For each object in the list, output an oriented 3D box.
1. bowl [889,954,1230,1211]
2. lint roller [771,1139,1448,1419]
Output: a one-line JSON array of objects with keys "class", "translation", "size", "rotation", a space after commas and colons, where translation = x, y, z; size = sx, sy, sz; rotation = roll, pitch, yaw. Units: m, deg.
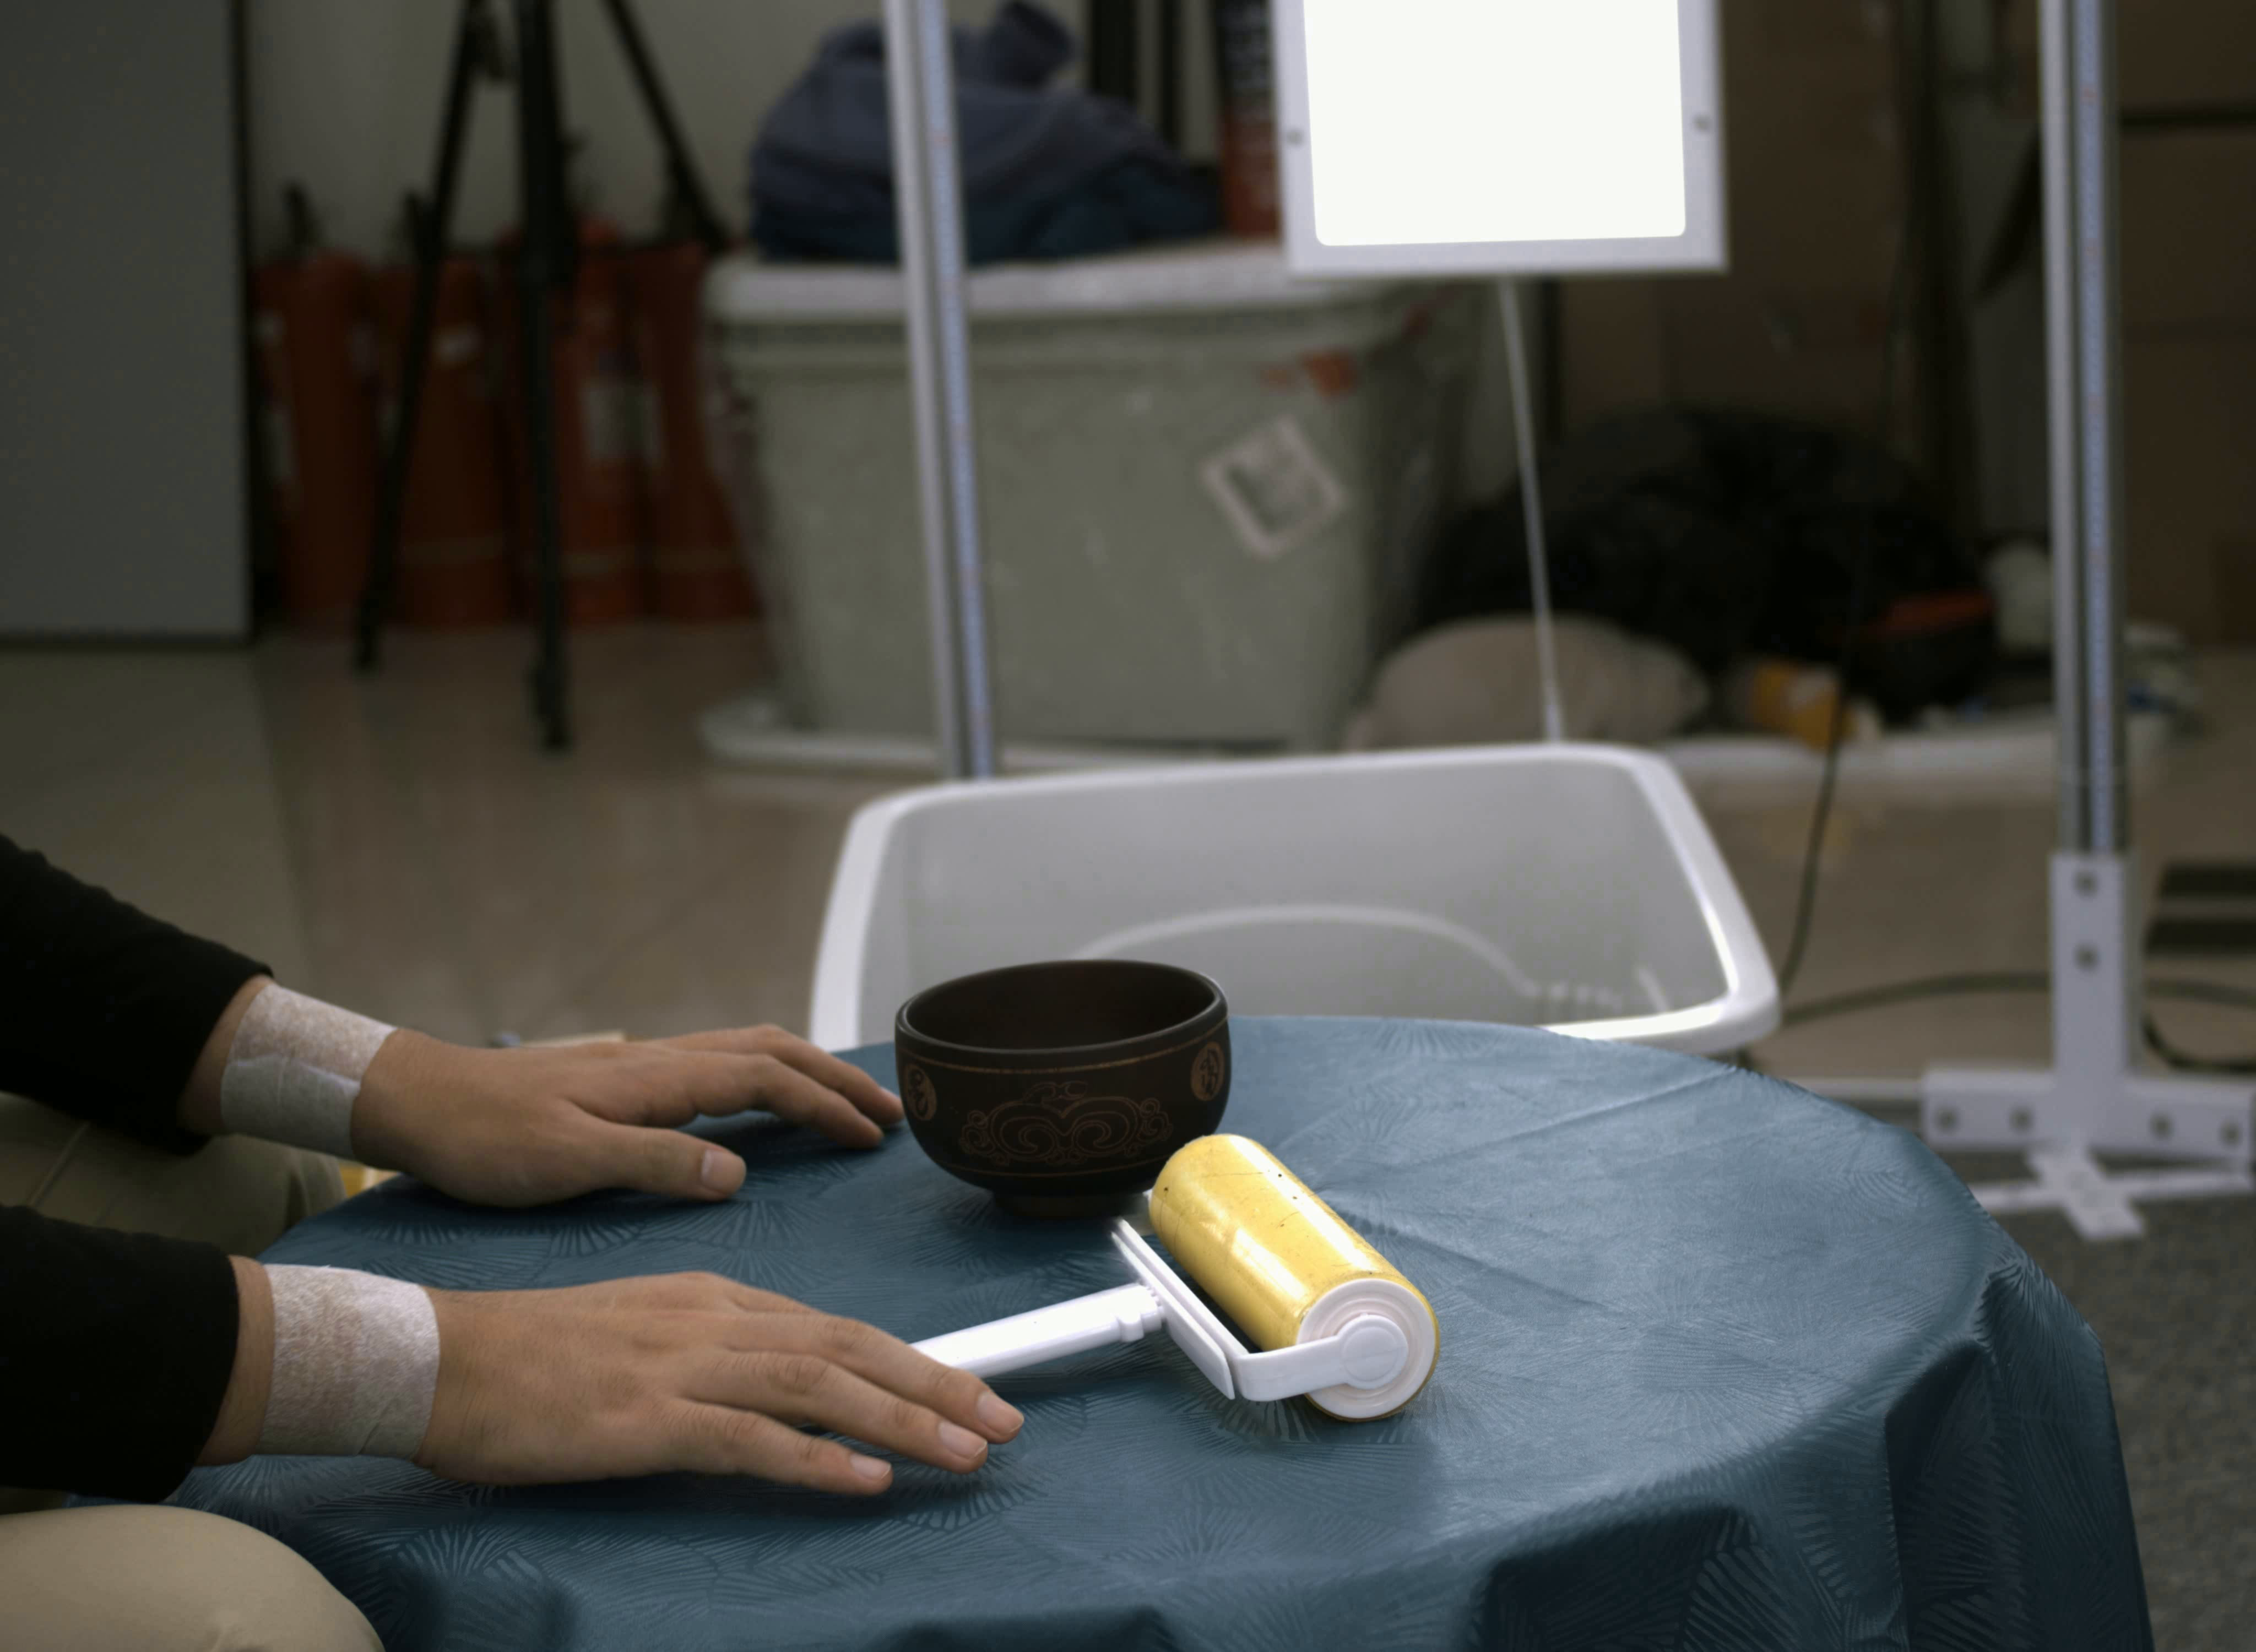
[{"class": "bowl", "translation": [-0.022, 0.091, 1.893], "size": [0.117, 0.070, 0.118], "rotation": [-4, 13, -1]}, {"class": "lint roller", "translation": [-0.017, 0.147, 1.709], "size": [0.189, 0.051, 0.176], "rotation": [-4, 13, -15]}]
